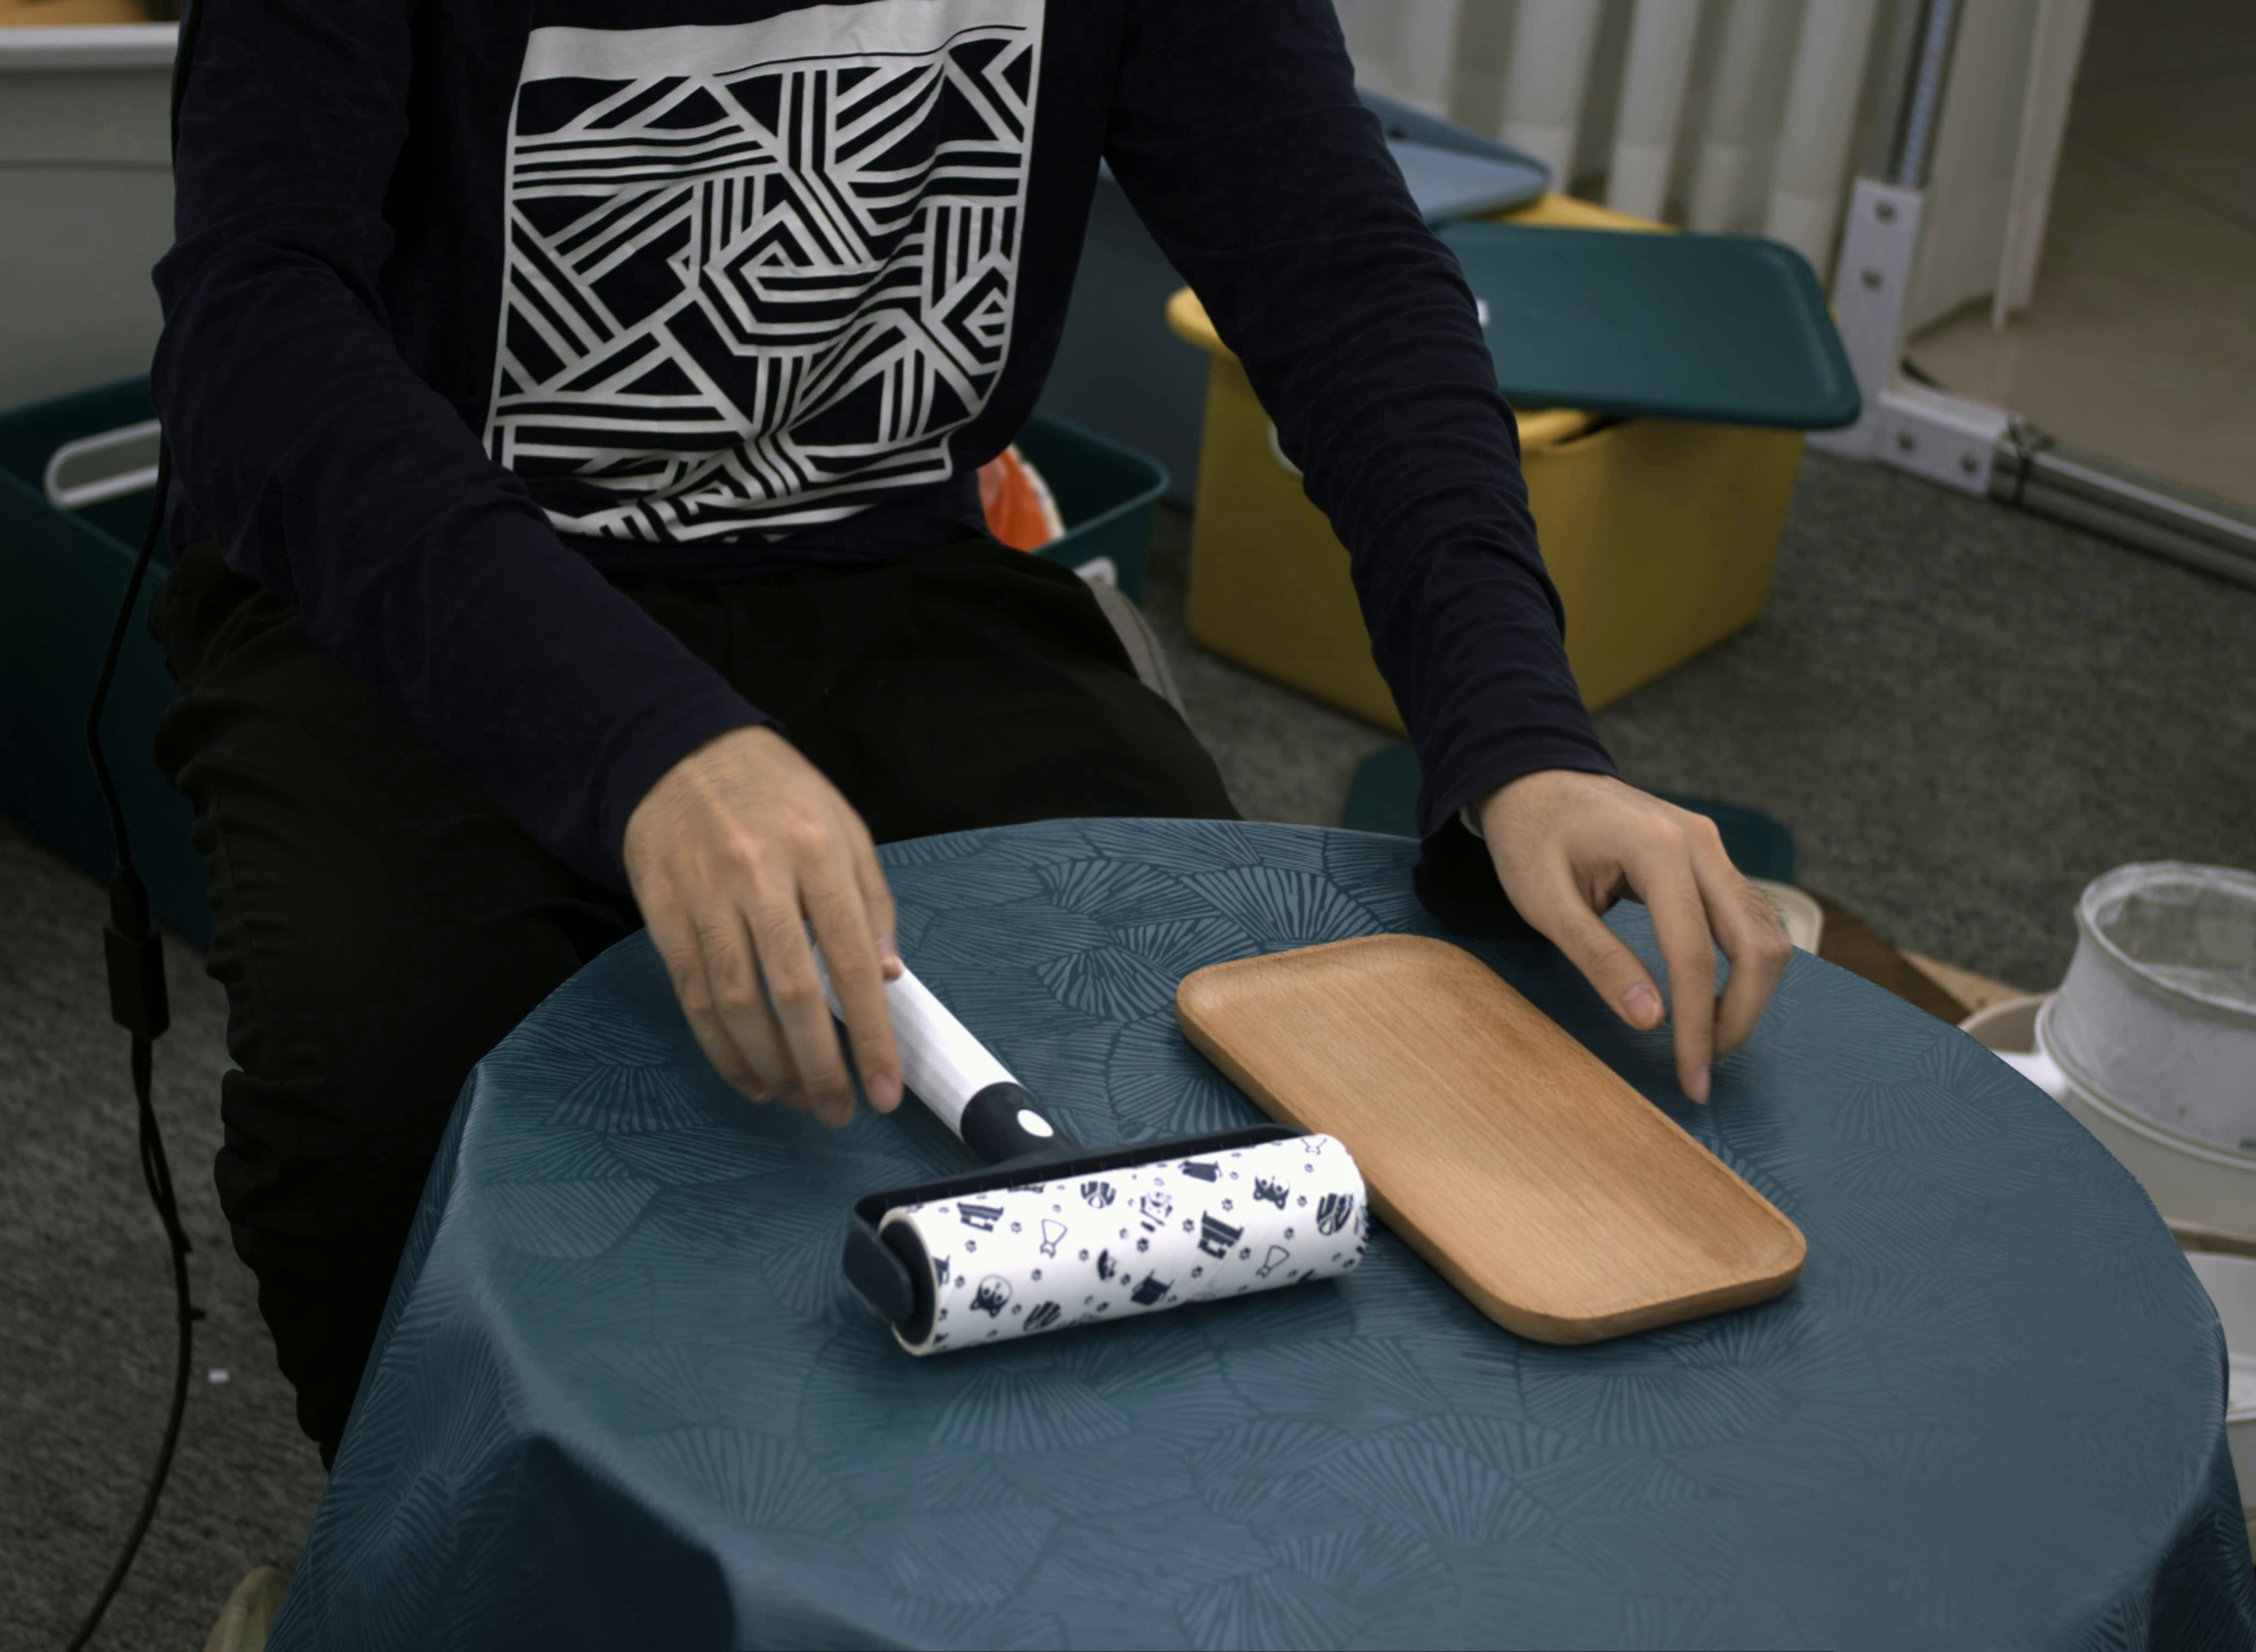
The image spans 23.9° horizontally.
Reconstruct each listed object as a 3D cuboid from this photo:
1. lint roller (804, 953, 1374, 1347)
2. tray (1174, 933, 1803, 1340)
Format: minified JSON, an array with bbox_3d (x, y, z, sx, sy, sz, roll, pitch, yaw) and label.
[{"bbox_3d":[-0.051,0.094,1.809,0.175,0.050,0.249,-9,28,-27],"label":"lint roller"},{"bbox_3d":[0.121,0.105,1.852,0.129,0.023,0.253,-6,28,-29],"label":"tray"}]
